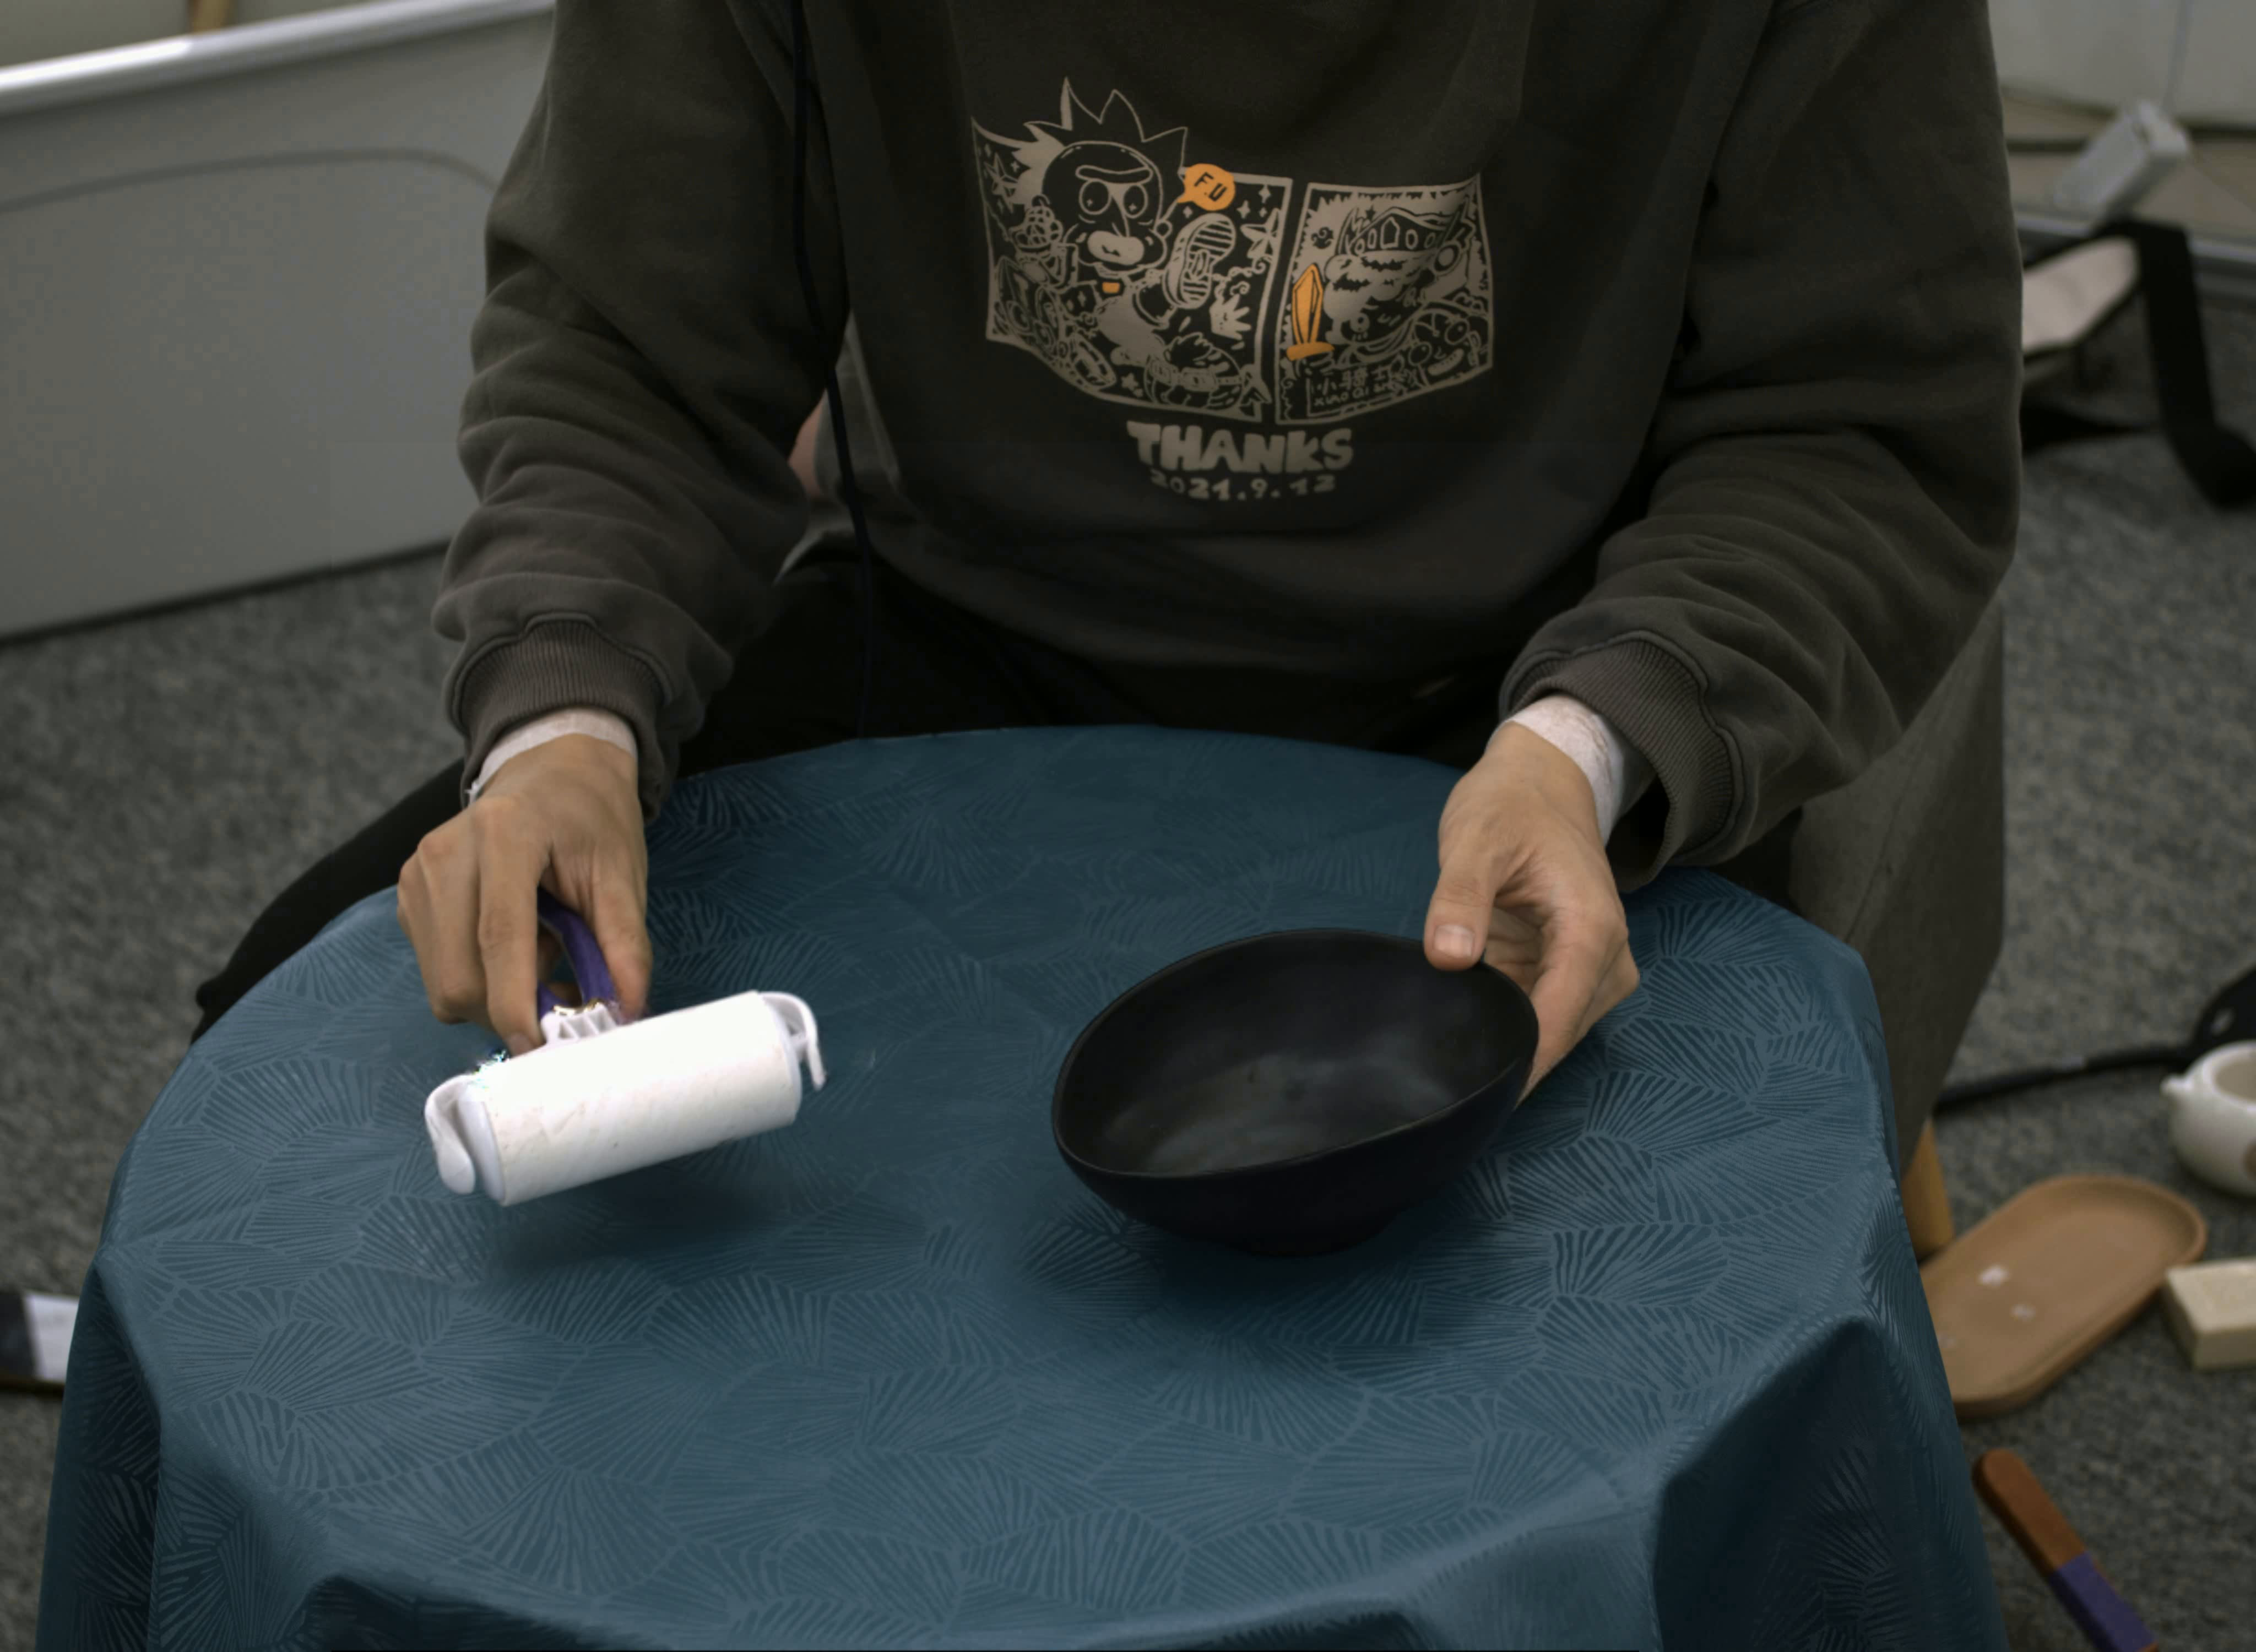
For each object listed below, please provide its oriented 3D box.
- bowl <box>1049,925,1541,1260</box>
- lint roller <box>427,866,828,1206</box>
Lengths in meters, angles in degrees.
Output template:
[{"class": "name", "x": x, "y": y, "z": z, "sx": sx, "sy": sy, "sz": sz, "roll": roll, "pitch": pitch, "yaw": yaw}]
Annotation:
[{"class": "bowl", "x": 0.057, "y": 0.097, "z": 1.834, "sx": 0.171, "sy": 0.066, "sz": 0.137, "roll": -21, "pitch": 31, "yaw": -27}, {"class": "lint roller", "x": -0.184, "y": 0.052, "z": 1.880, "sx": 0.133, "sy": 0.049, "sz": 0.183, "roll": -15, "pitch": 39, "yaw": -14}]
